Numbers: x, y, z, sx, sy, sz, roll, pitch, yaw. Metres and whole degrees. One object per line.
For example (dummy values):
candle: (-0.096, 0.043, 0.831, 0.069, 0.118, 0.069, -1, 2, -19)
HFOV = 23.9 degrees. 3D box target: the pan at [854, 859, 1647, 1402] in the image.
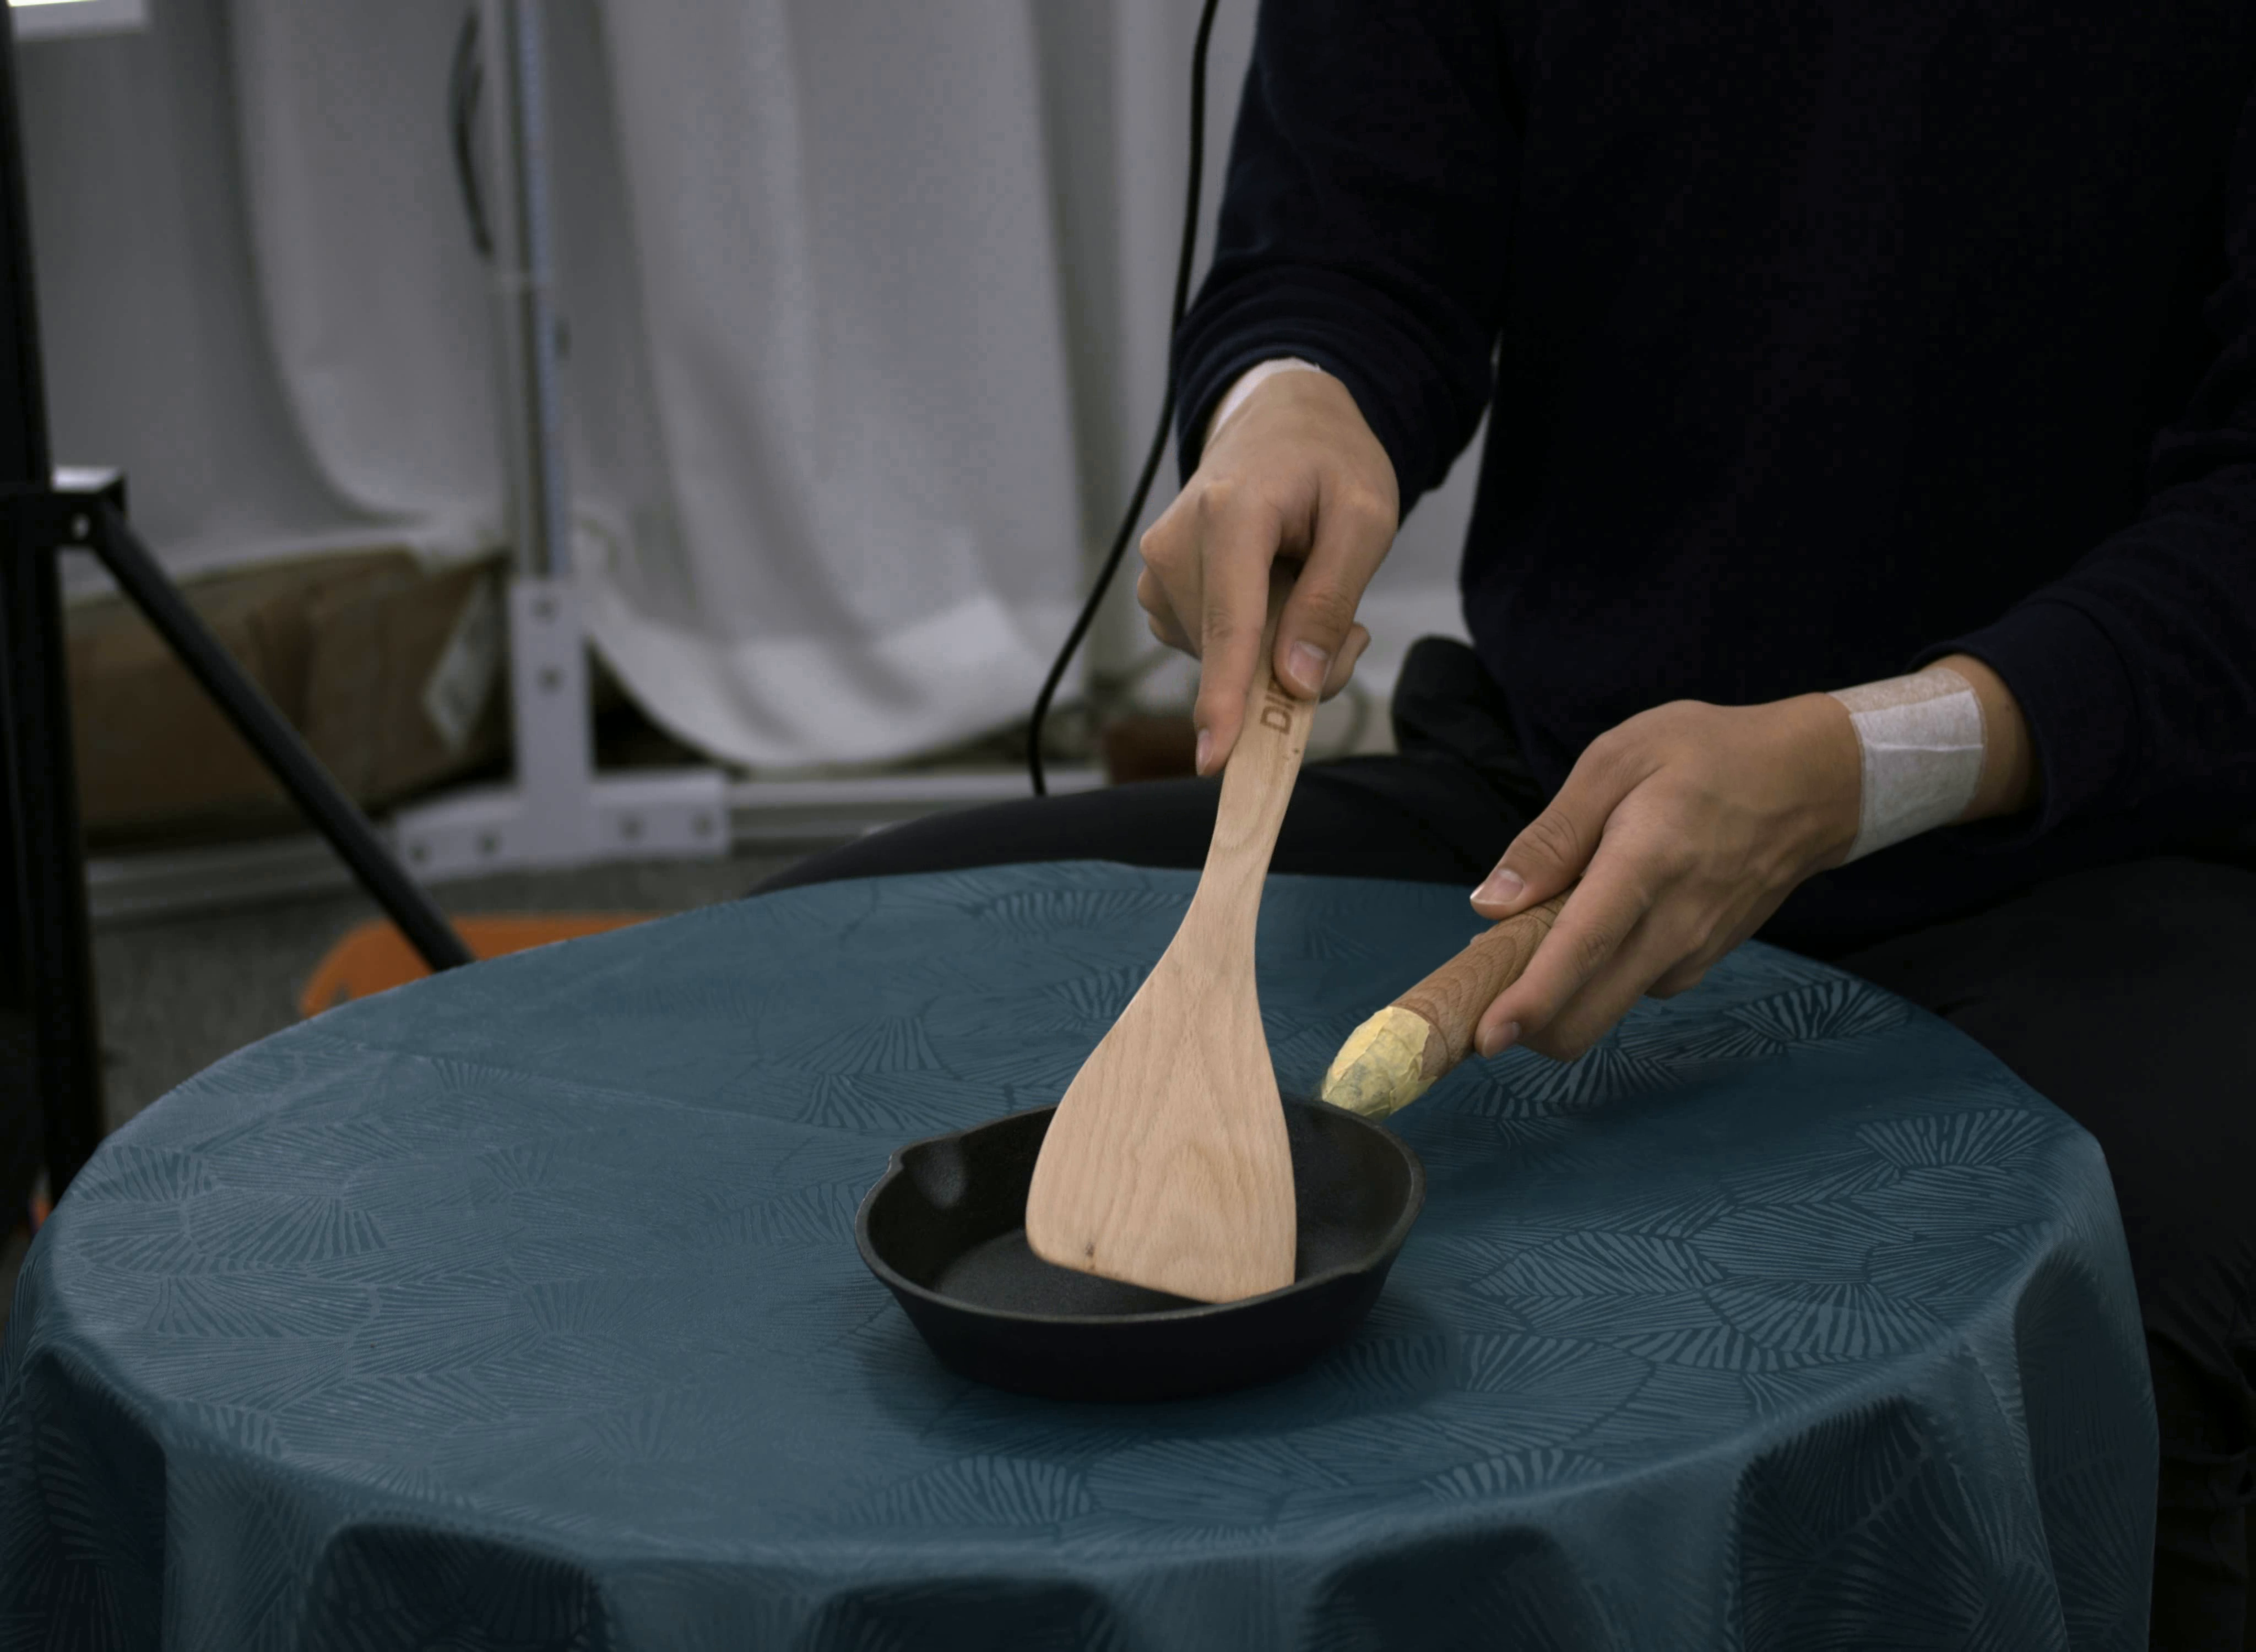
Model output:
pan: (0.057, 0.083, 1.506, 0.172, 0.049, 0.318, 11, 26, 39)

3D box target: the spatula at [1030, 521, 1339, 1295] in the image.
spatula: (0.032, 0.019, 1.541, 0.079, 0.016, 0.329, 20, 45, -7)
